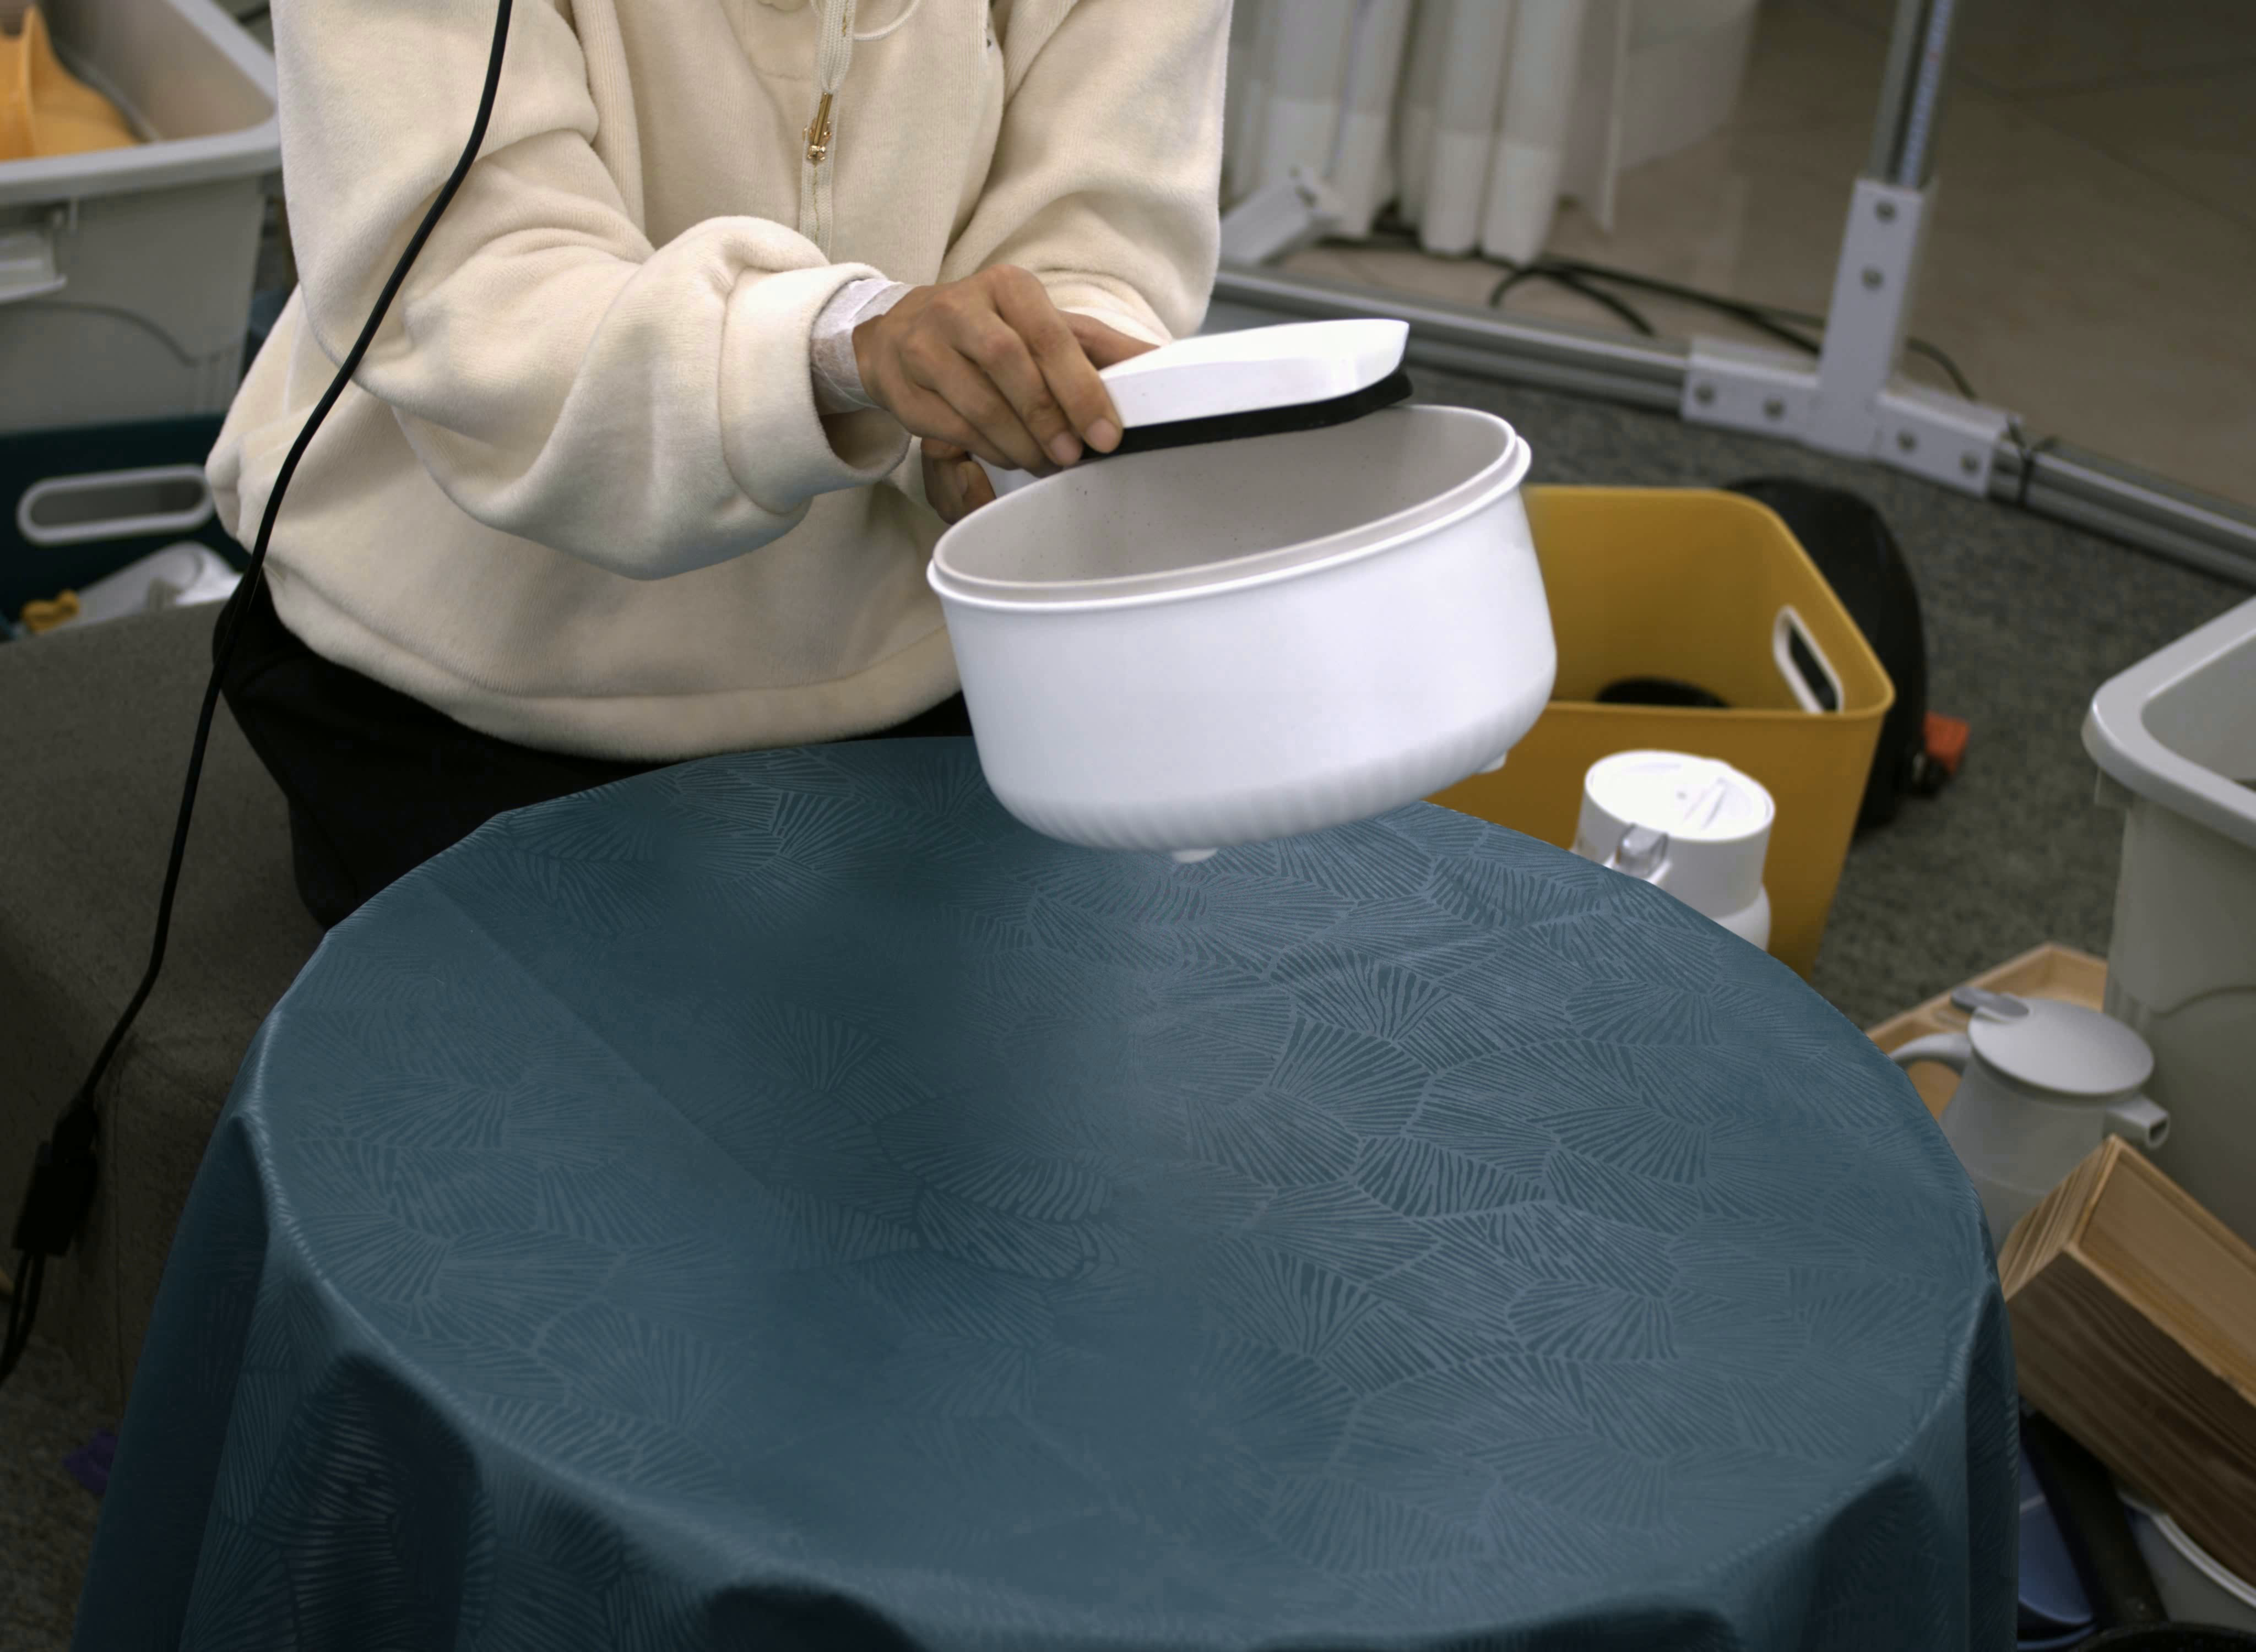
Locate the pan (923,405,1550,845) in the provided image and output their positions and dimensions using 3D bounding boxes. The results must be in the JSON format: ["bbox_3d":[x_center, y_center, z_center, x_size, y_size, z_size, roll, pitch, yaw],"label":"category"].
[{"bbox_3d":[0.016,-0.078,1.824,0.200,0.102,0.357,-15,14,-15],"label":"pan"}]

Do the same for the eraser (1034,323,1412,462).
[{"bbox_3d":[0.033,-0.151,1.817,0.132,0.034,0.063,-5,11,36],"label":"eraser"}]
